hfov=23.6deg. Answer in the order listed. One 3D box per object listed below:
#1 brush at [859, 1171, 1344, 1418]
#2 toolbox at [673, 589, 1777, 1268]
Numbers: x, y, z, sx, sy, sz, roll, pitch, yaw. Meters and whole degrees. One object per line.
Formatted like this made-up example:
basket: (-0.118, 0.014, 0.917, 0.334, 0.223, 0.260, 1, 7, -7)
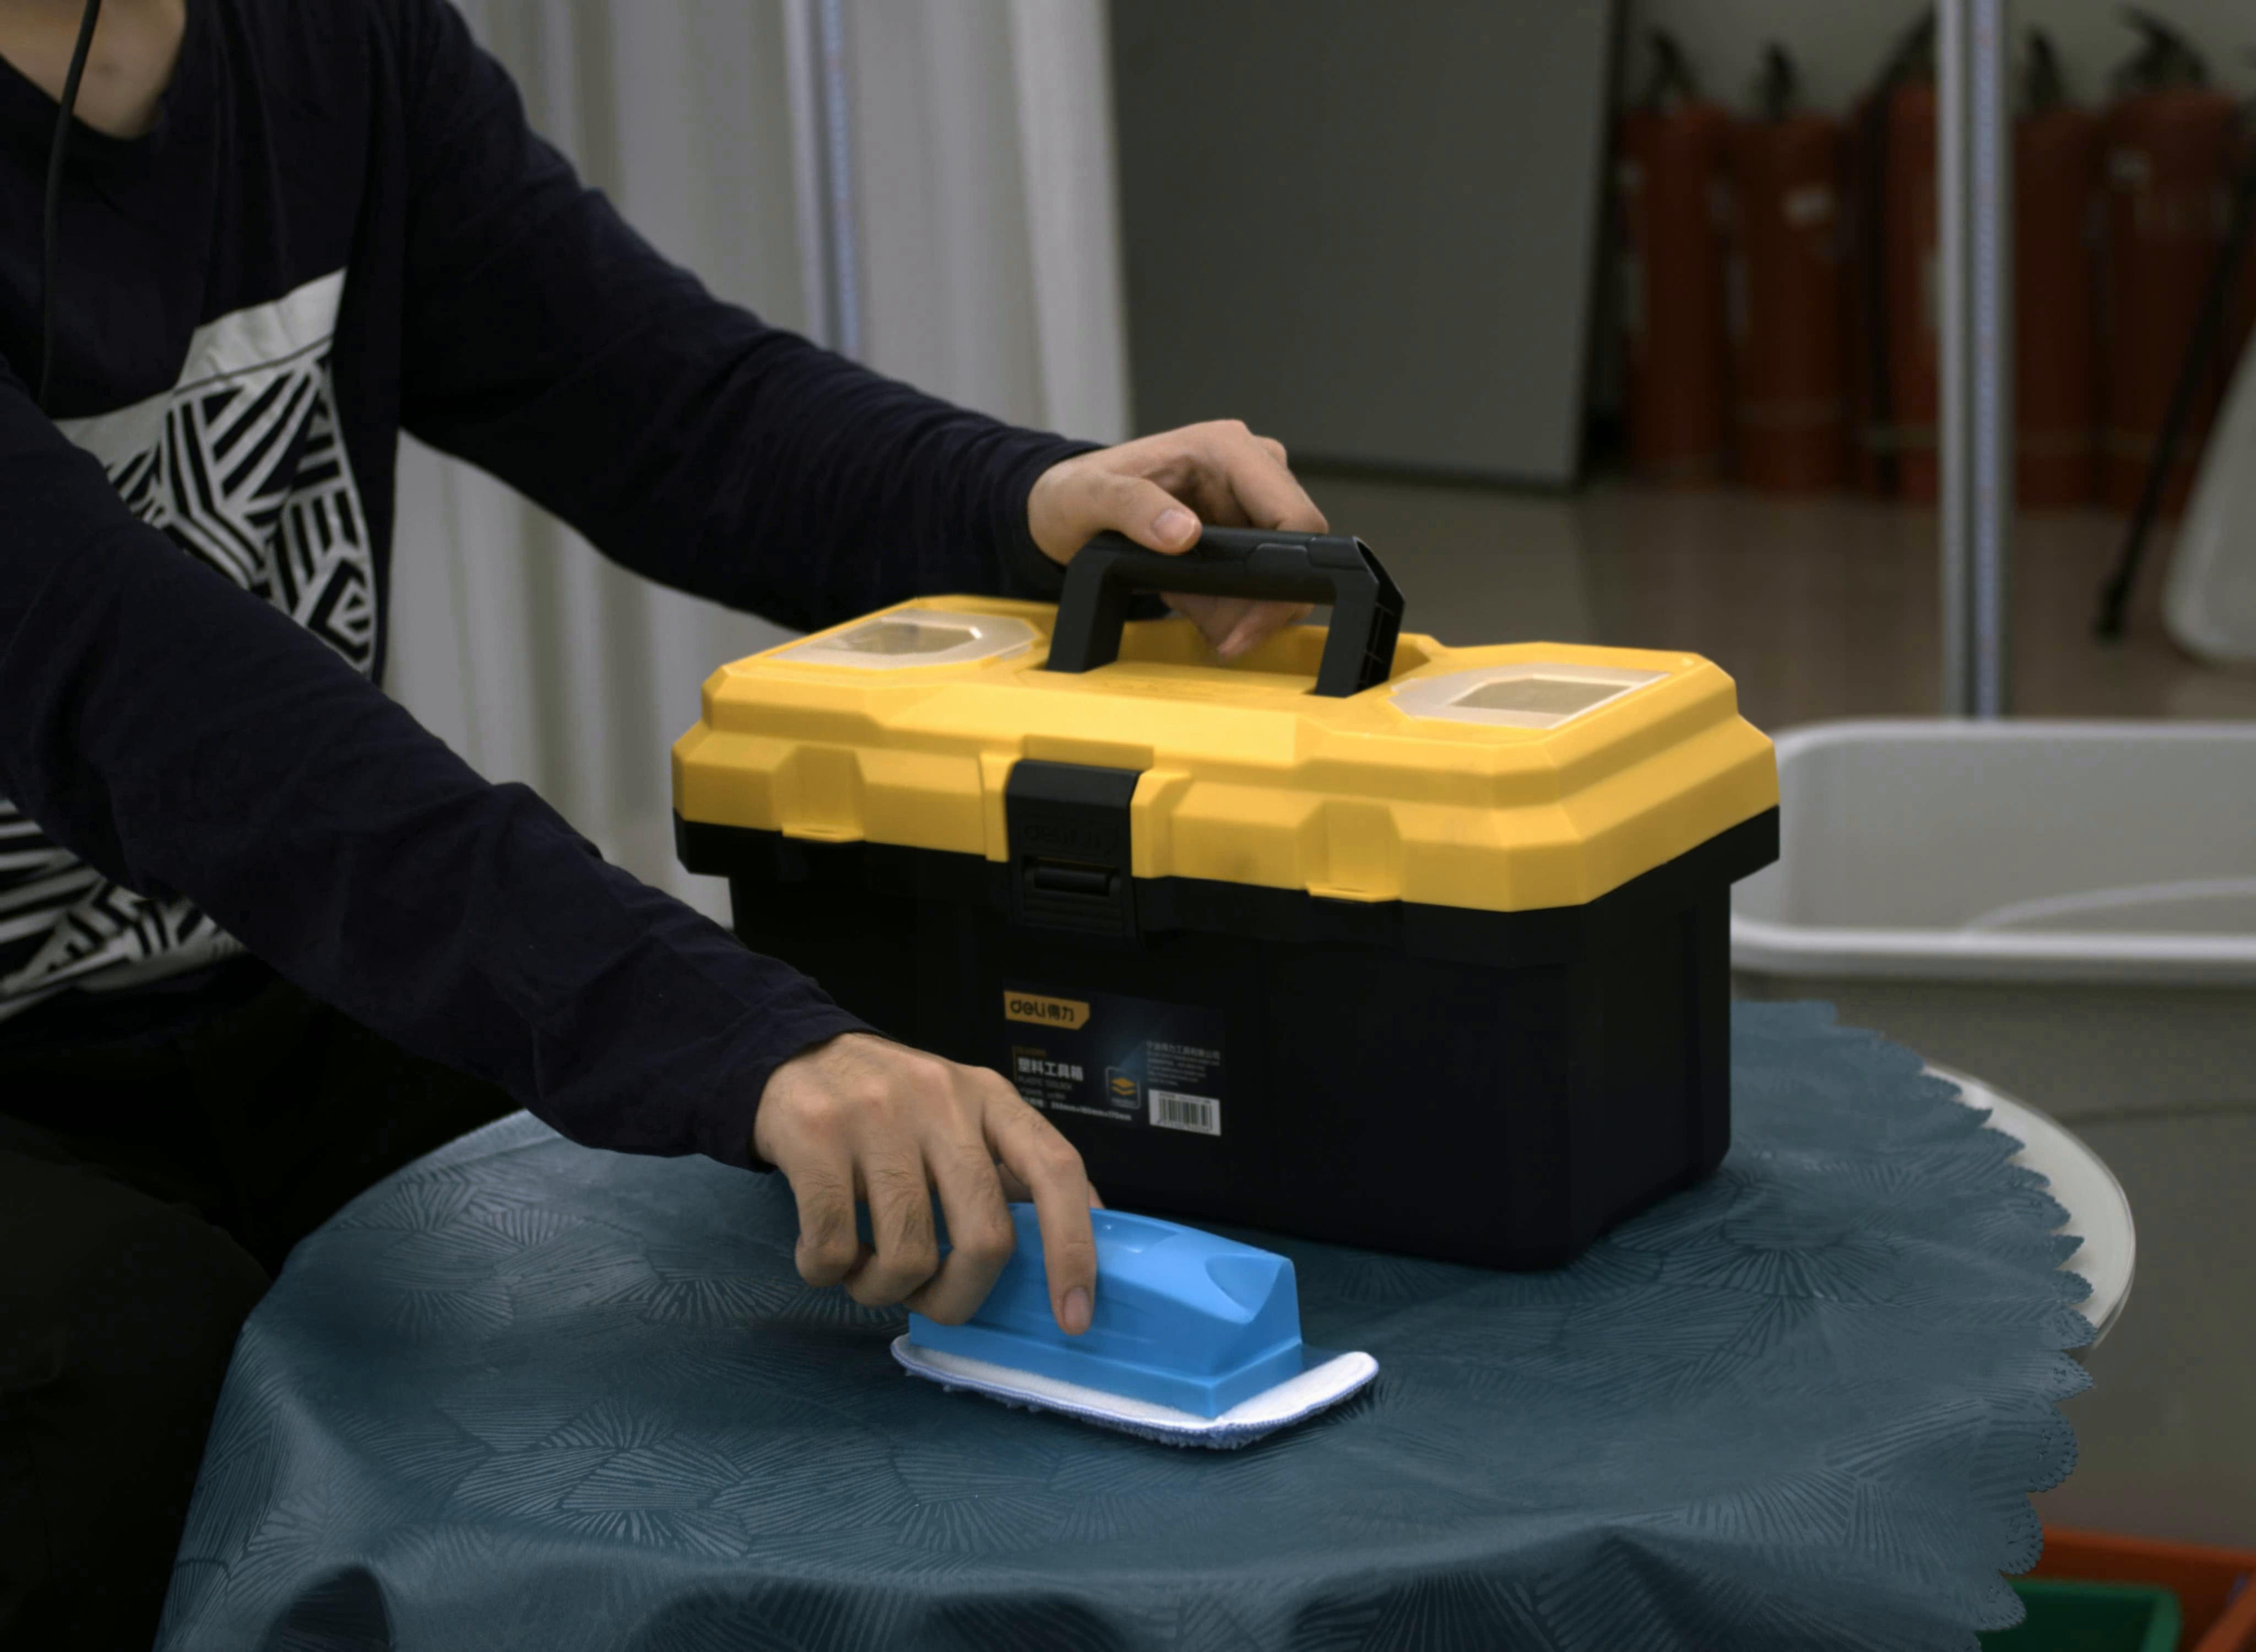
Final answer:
brush: (-0.008, 0.136, 1.588, 0.145, 0.056, 0.082, 12, 17, 42)
toolbox: (0.029, 0.029, 1.775, 0.353, 0.175, 0.178, 6, 16, 34)
